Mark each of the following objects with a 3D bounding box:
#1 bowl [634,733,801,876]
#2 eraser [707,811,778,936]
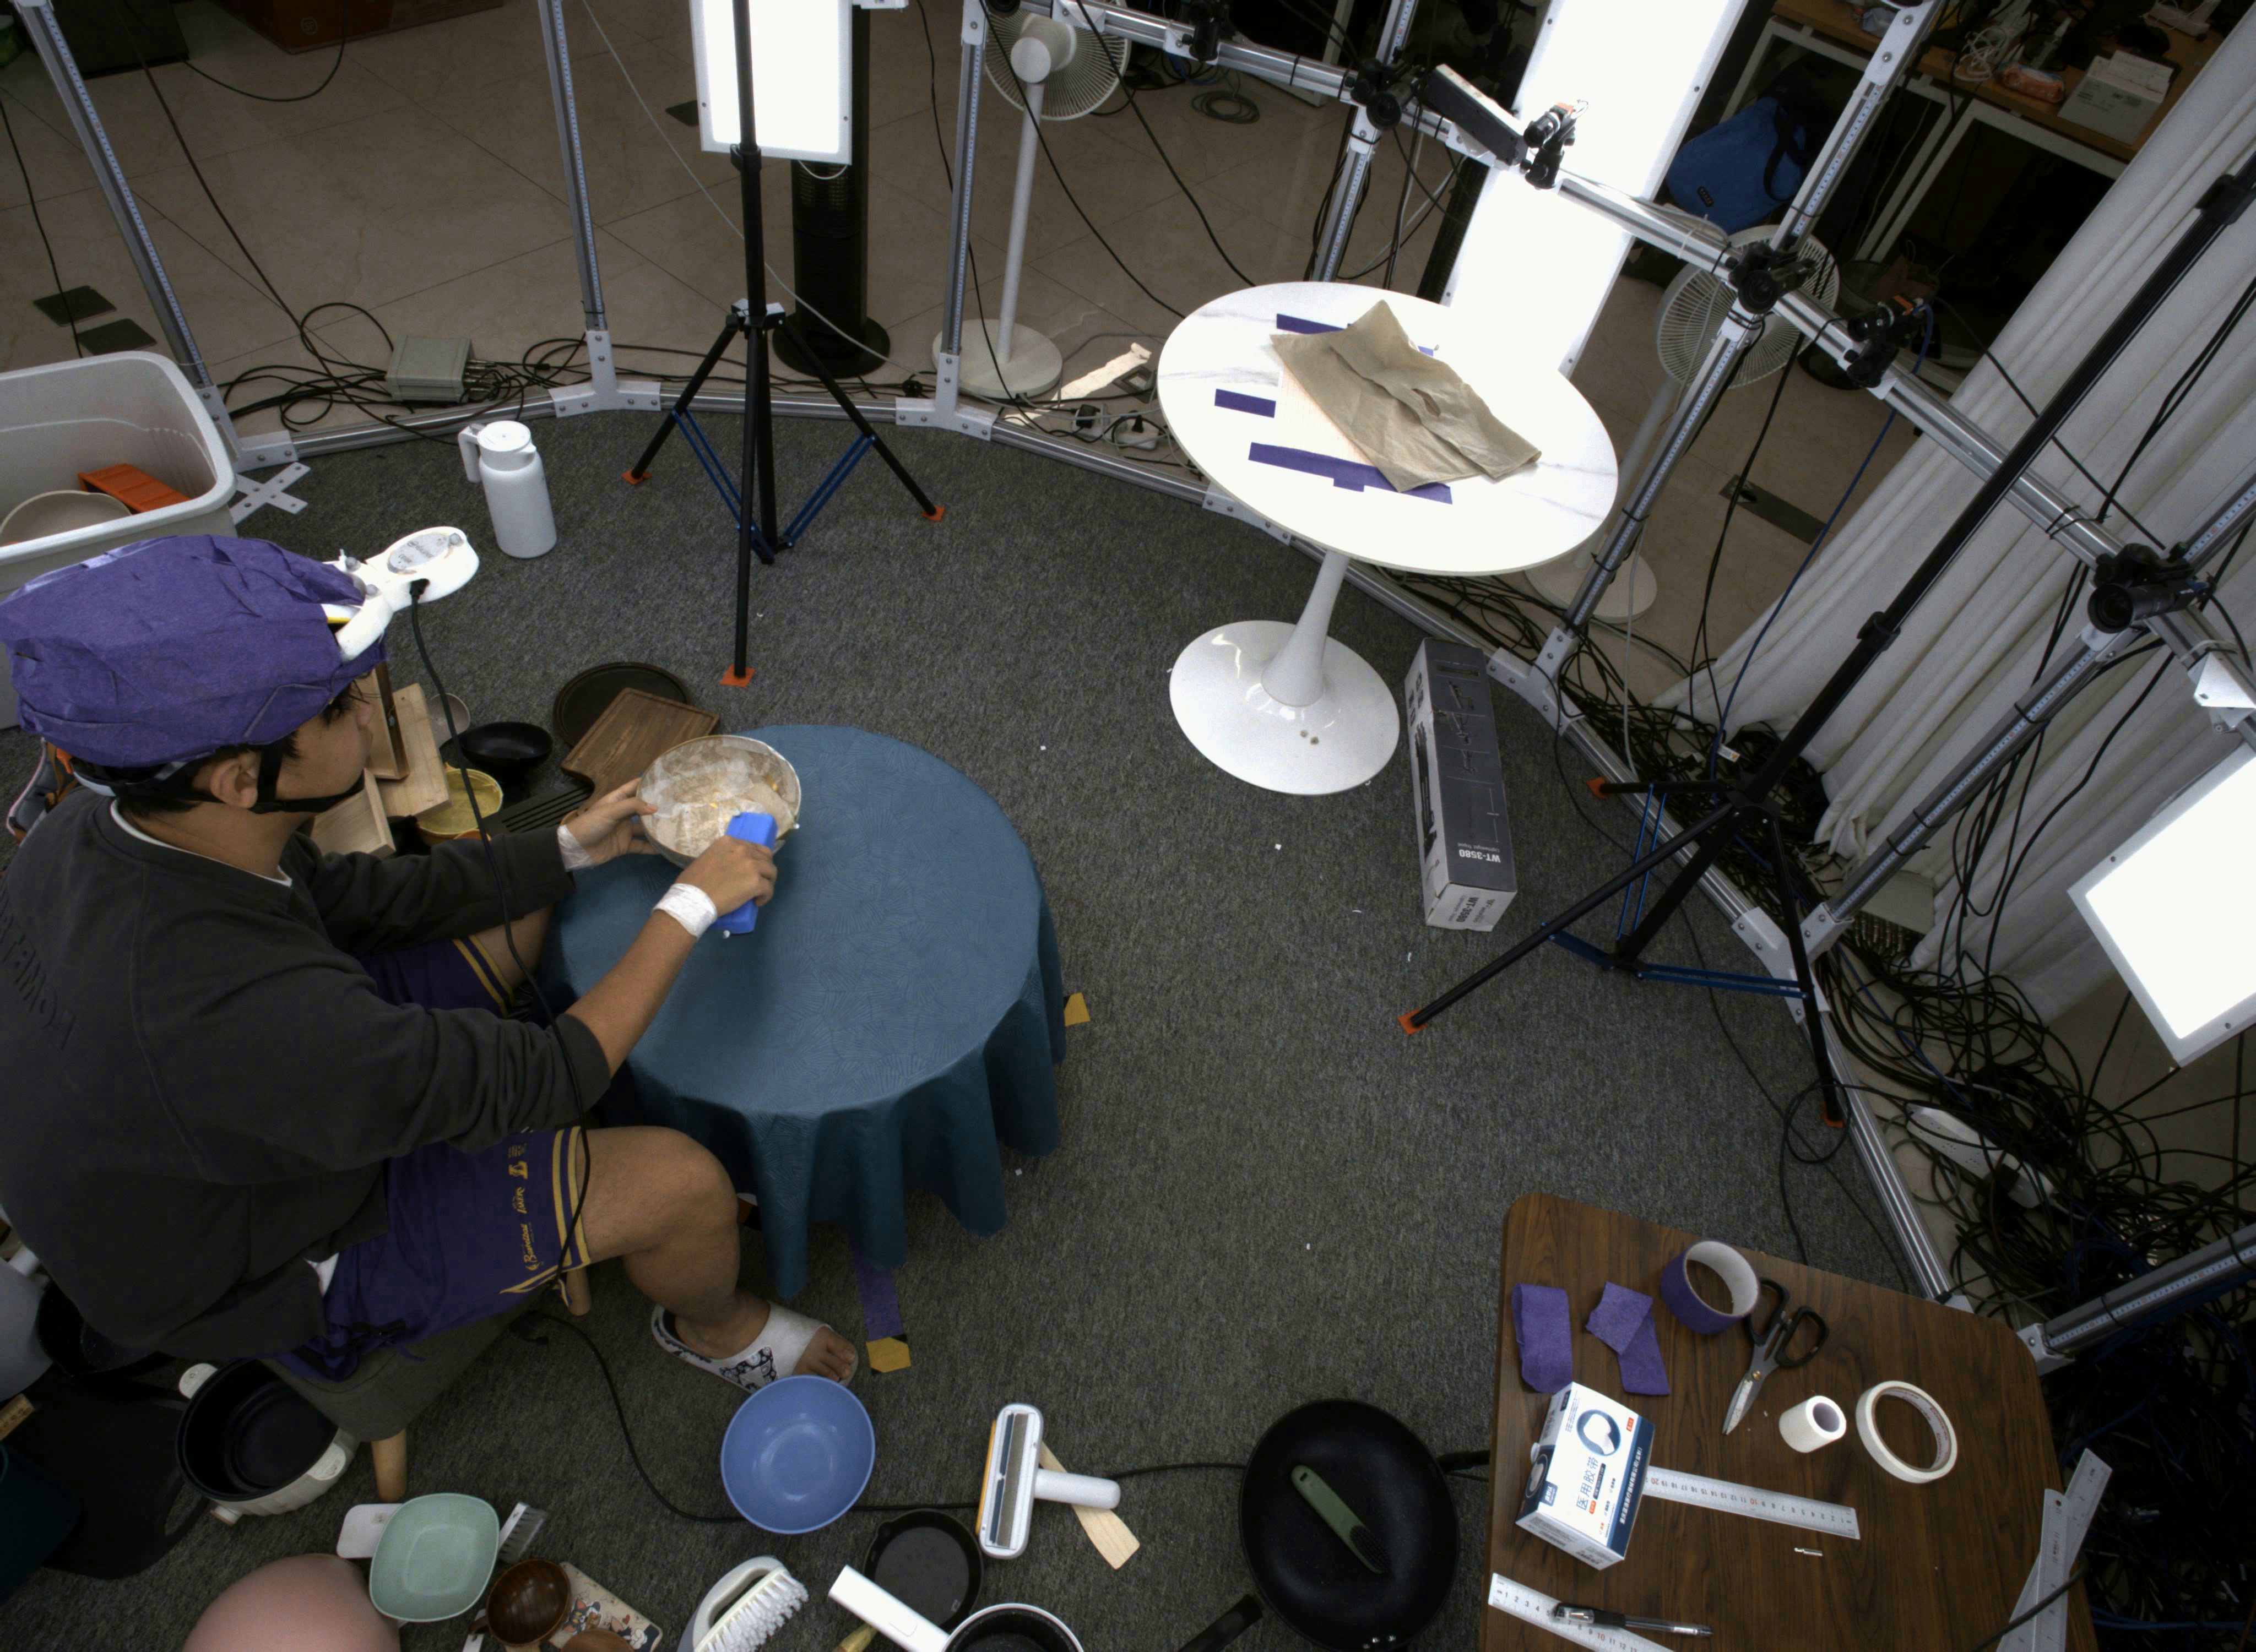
[{"bbox_3d":[-0.525,-0.013,1.652,0.214,0.096,0.211,8,53,-9],"label":"bowl"},{"bbox_3d":[-0.458,0.049,1.537,0.053,0.049,0.159,4,55,-3],"label":"eraser"}]
